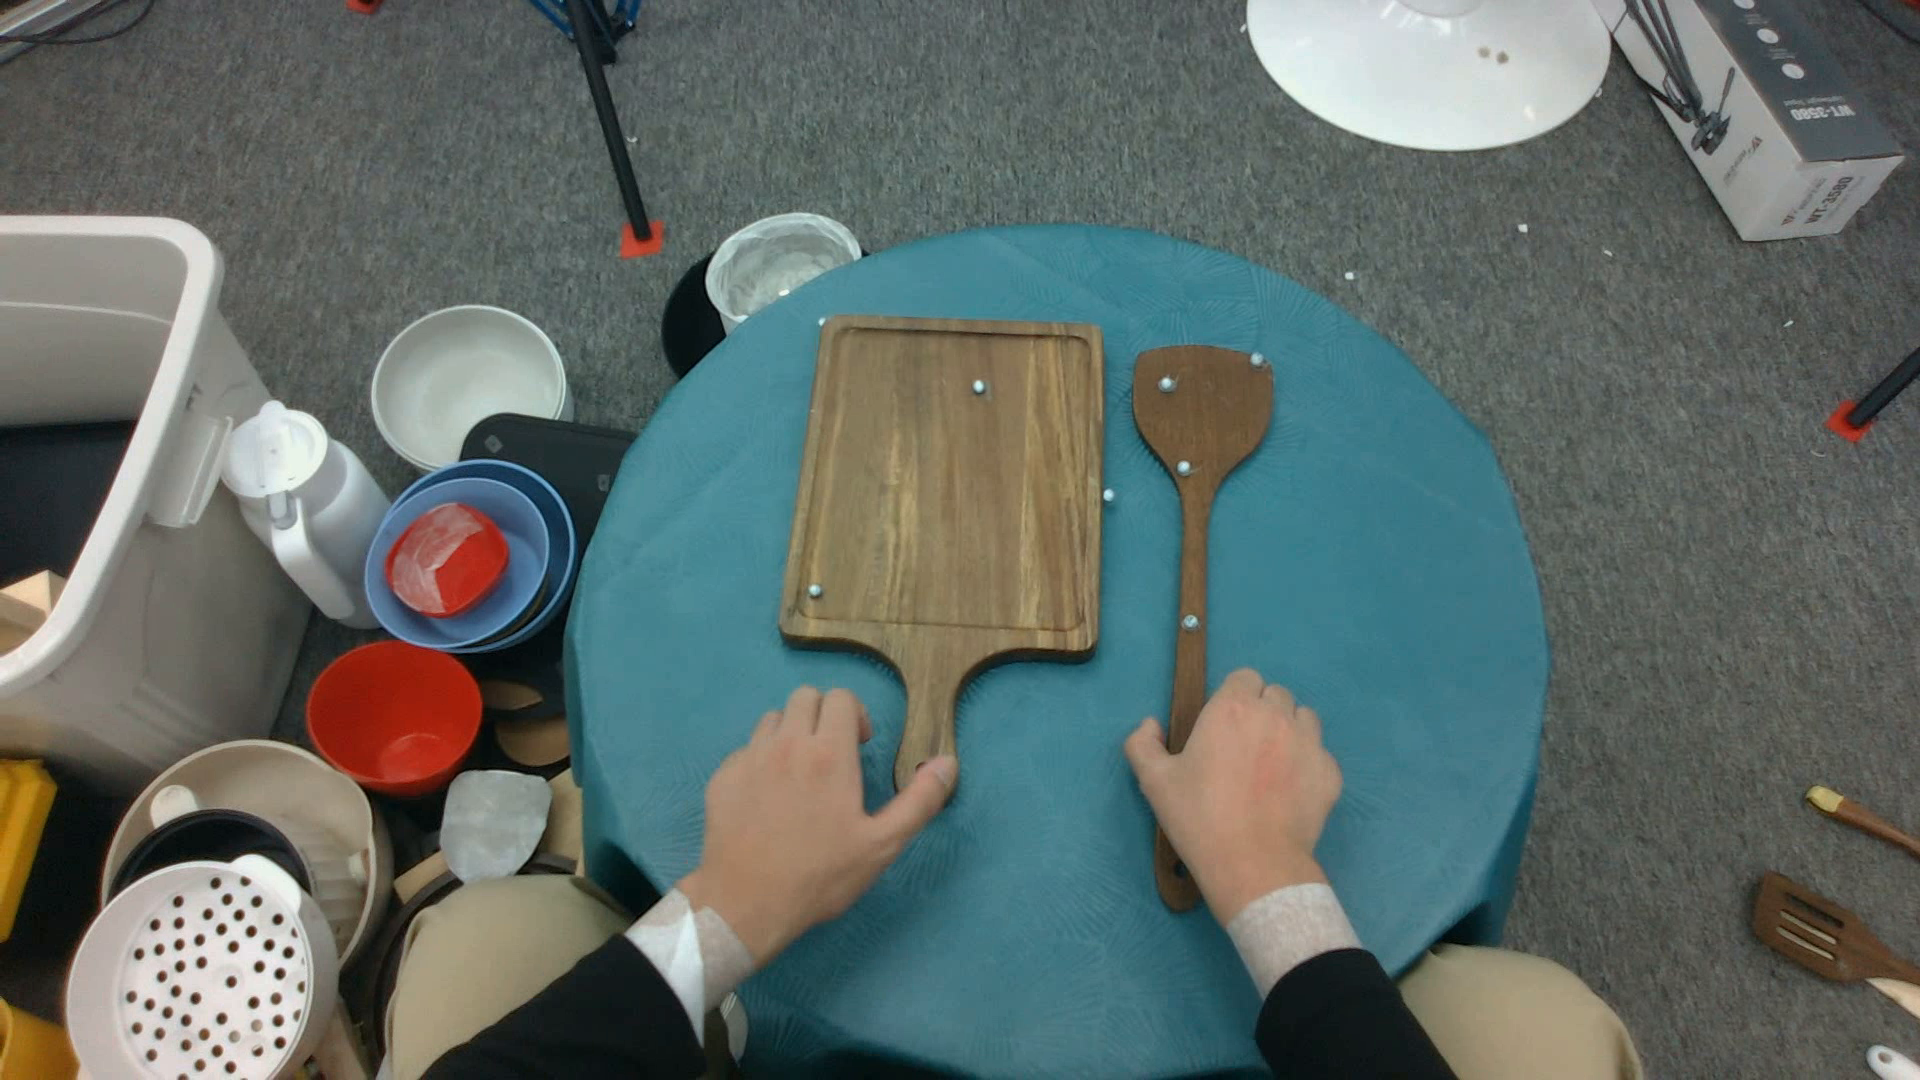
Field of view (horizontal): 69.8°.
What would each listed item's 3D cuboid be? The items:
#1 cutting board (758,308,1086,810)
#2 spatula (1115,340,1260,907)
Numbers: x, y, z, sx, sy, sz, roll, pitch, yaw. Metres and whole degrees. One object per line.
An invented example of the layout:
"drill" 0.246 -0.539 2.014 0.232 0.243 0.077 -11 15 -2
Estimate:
"cutting board" -0.021 -0.003 0.866 0.201 0.023 0.353 2 60 2
"spatula" 0.134 0.032 0.848 0.096 0.016 0.387 5 61 4
